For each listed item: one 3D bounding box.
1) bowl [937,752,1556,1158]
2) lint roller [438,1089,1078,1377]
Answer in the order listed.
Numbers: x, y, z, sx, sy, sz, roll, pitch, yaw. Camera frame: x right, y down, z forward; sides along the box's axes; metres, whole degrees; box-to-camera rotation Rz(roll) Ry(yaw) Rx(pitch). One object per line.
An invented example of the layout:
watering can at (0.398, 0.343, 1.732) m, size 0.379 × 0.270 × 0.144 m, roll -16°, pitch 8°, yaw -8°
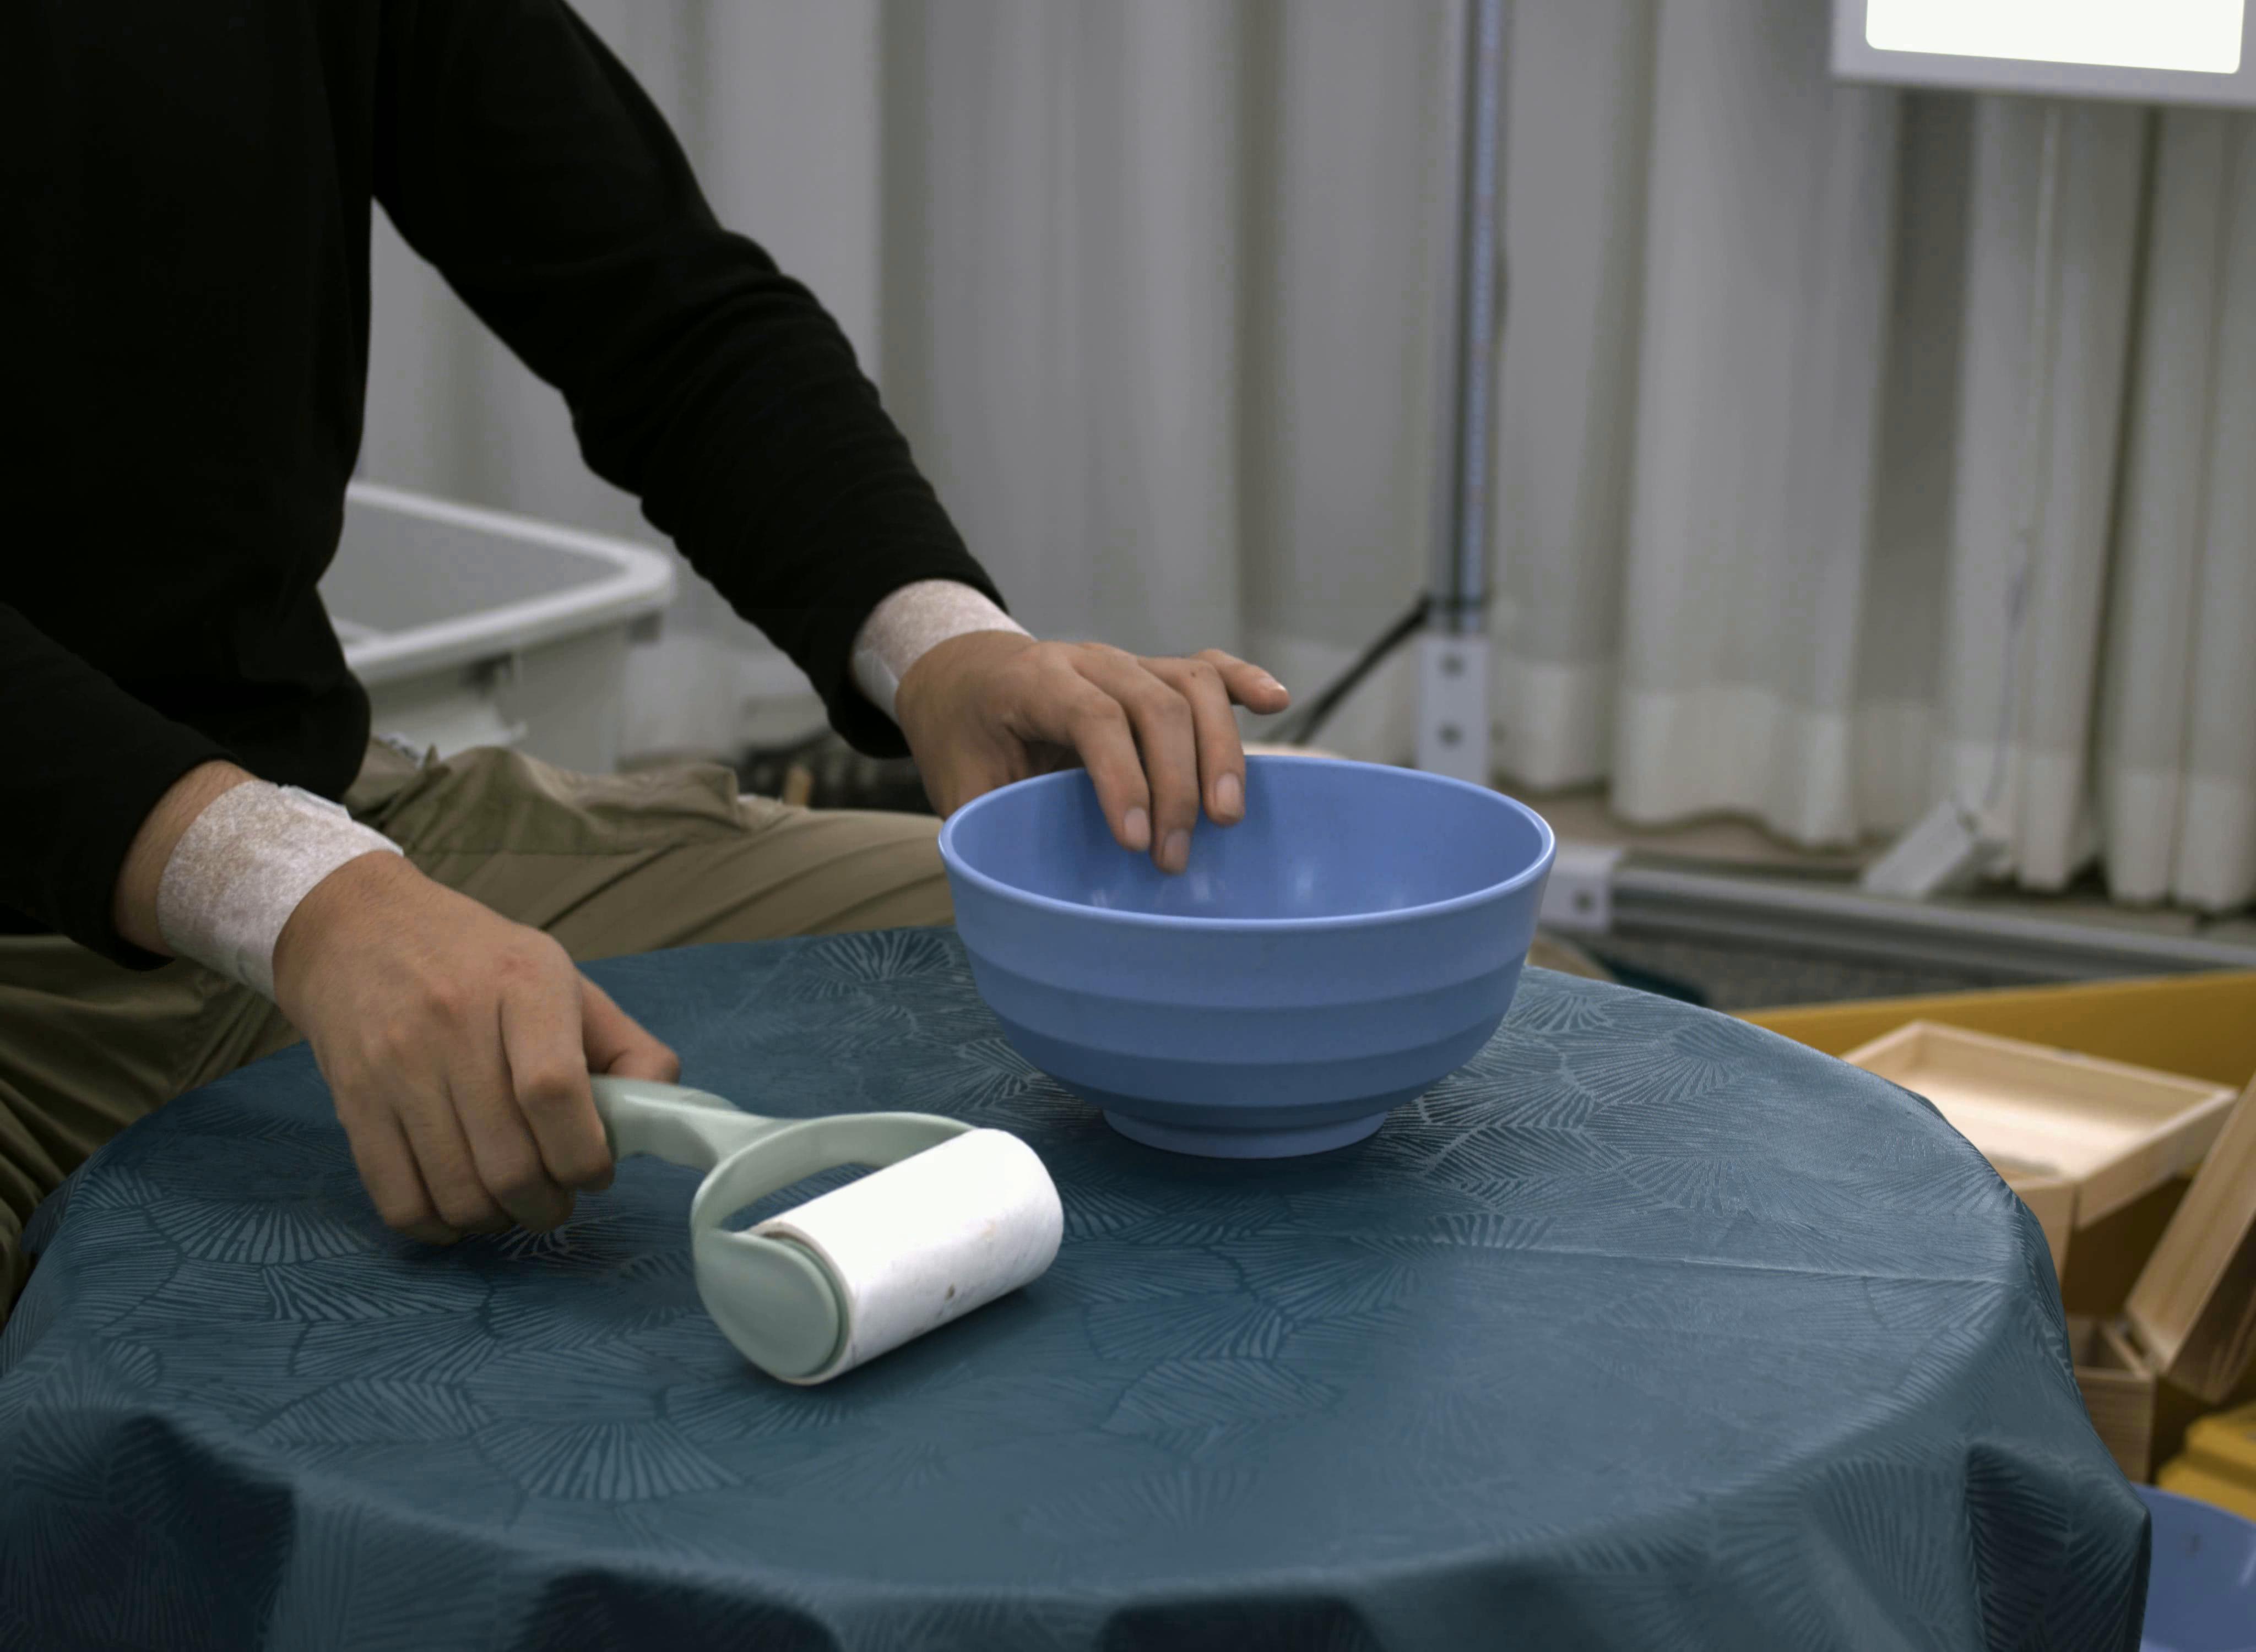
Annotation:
bowl at (0.038, 0.046, 1.680) m, size 0.196 × 0.096 × 0.195 m, roll 0°, pitch 17°, yaw 1°
lint roller at (-0.121, 0.102, 1.537) m, size 0.195 × 0.049 × 0.117 m, roll 16°, pitch 23°, yaw 30°
